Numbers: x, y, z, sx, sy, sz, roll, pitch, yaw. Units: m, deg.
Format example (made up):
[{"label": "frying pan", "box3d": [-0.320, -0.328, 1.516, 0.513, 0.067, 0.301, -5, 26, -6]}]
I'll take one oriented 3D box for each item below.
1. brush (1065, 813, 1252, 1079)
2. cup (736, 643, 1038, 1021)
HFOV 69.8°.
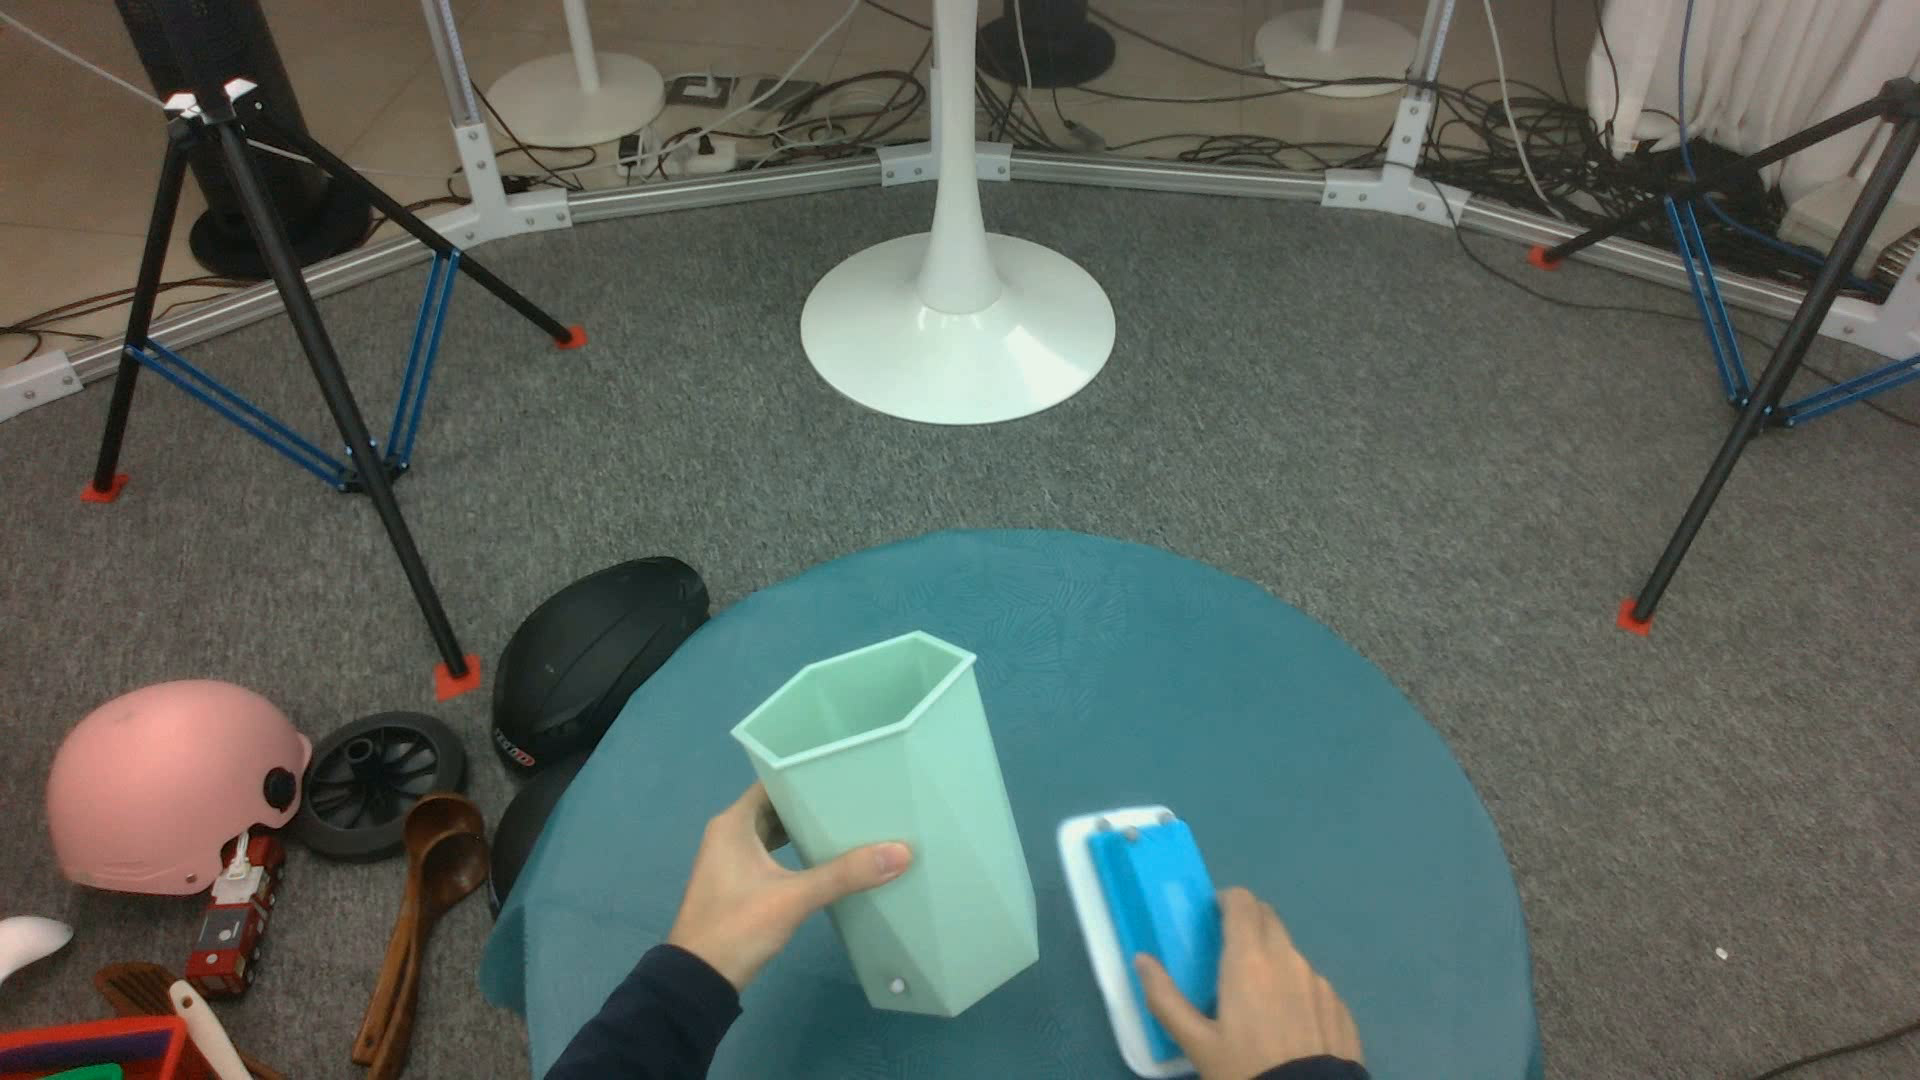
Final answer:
[{"label": "brush", "box3d": [0.111, 0.215, 0.748, 0.084, 0.055, 0.144, -1, 59, -20]}, {"label": "cup", "box3d": [-0.029, 0.155, 0.724, 0.131, 0.162, 0.115, -18, 17, 5]}]
